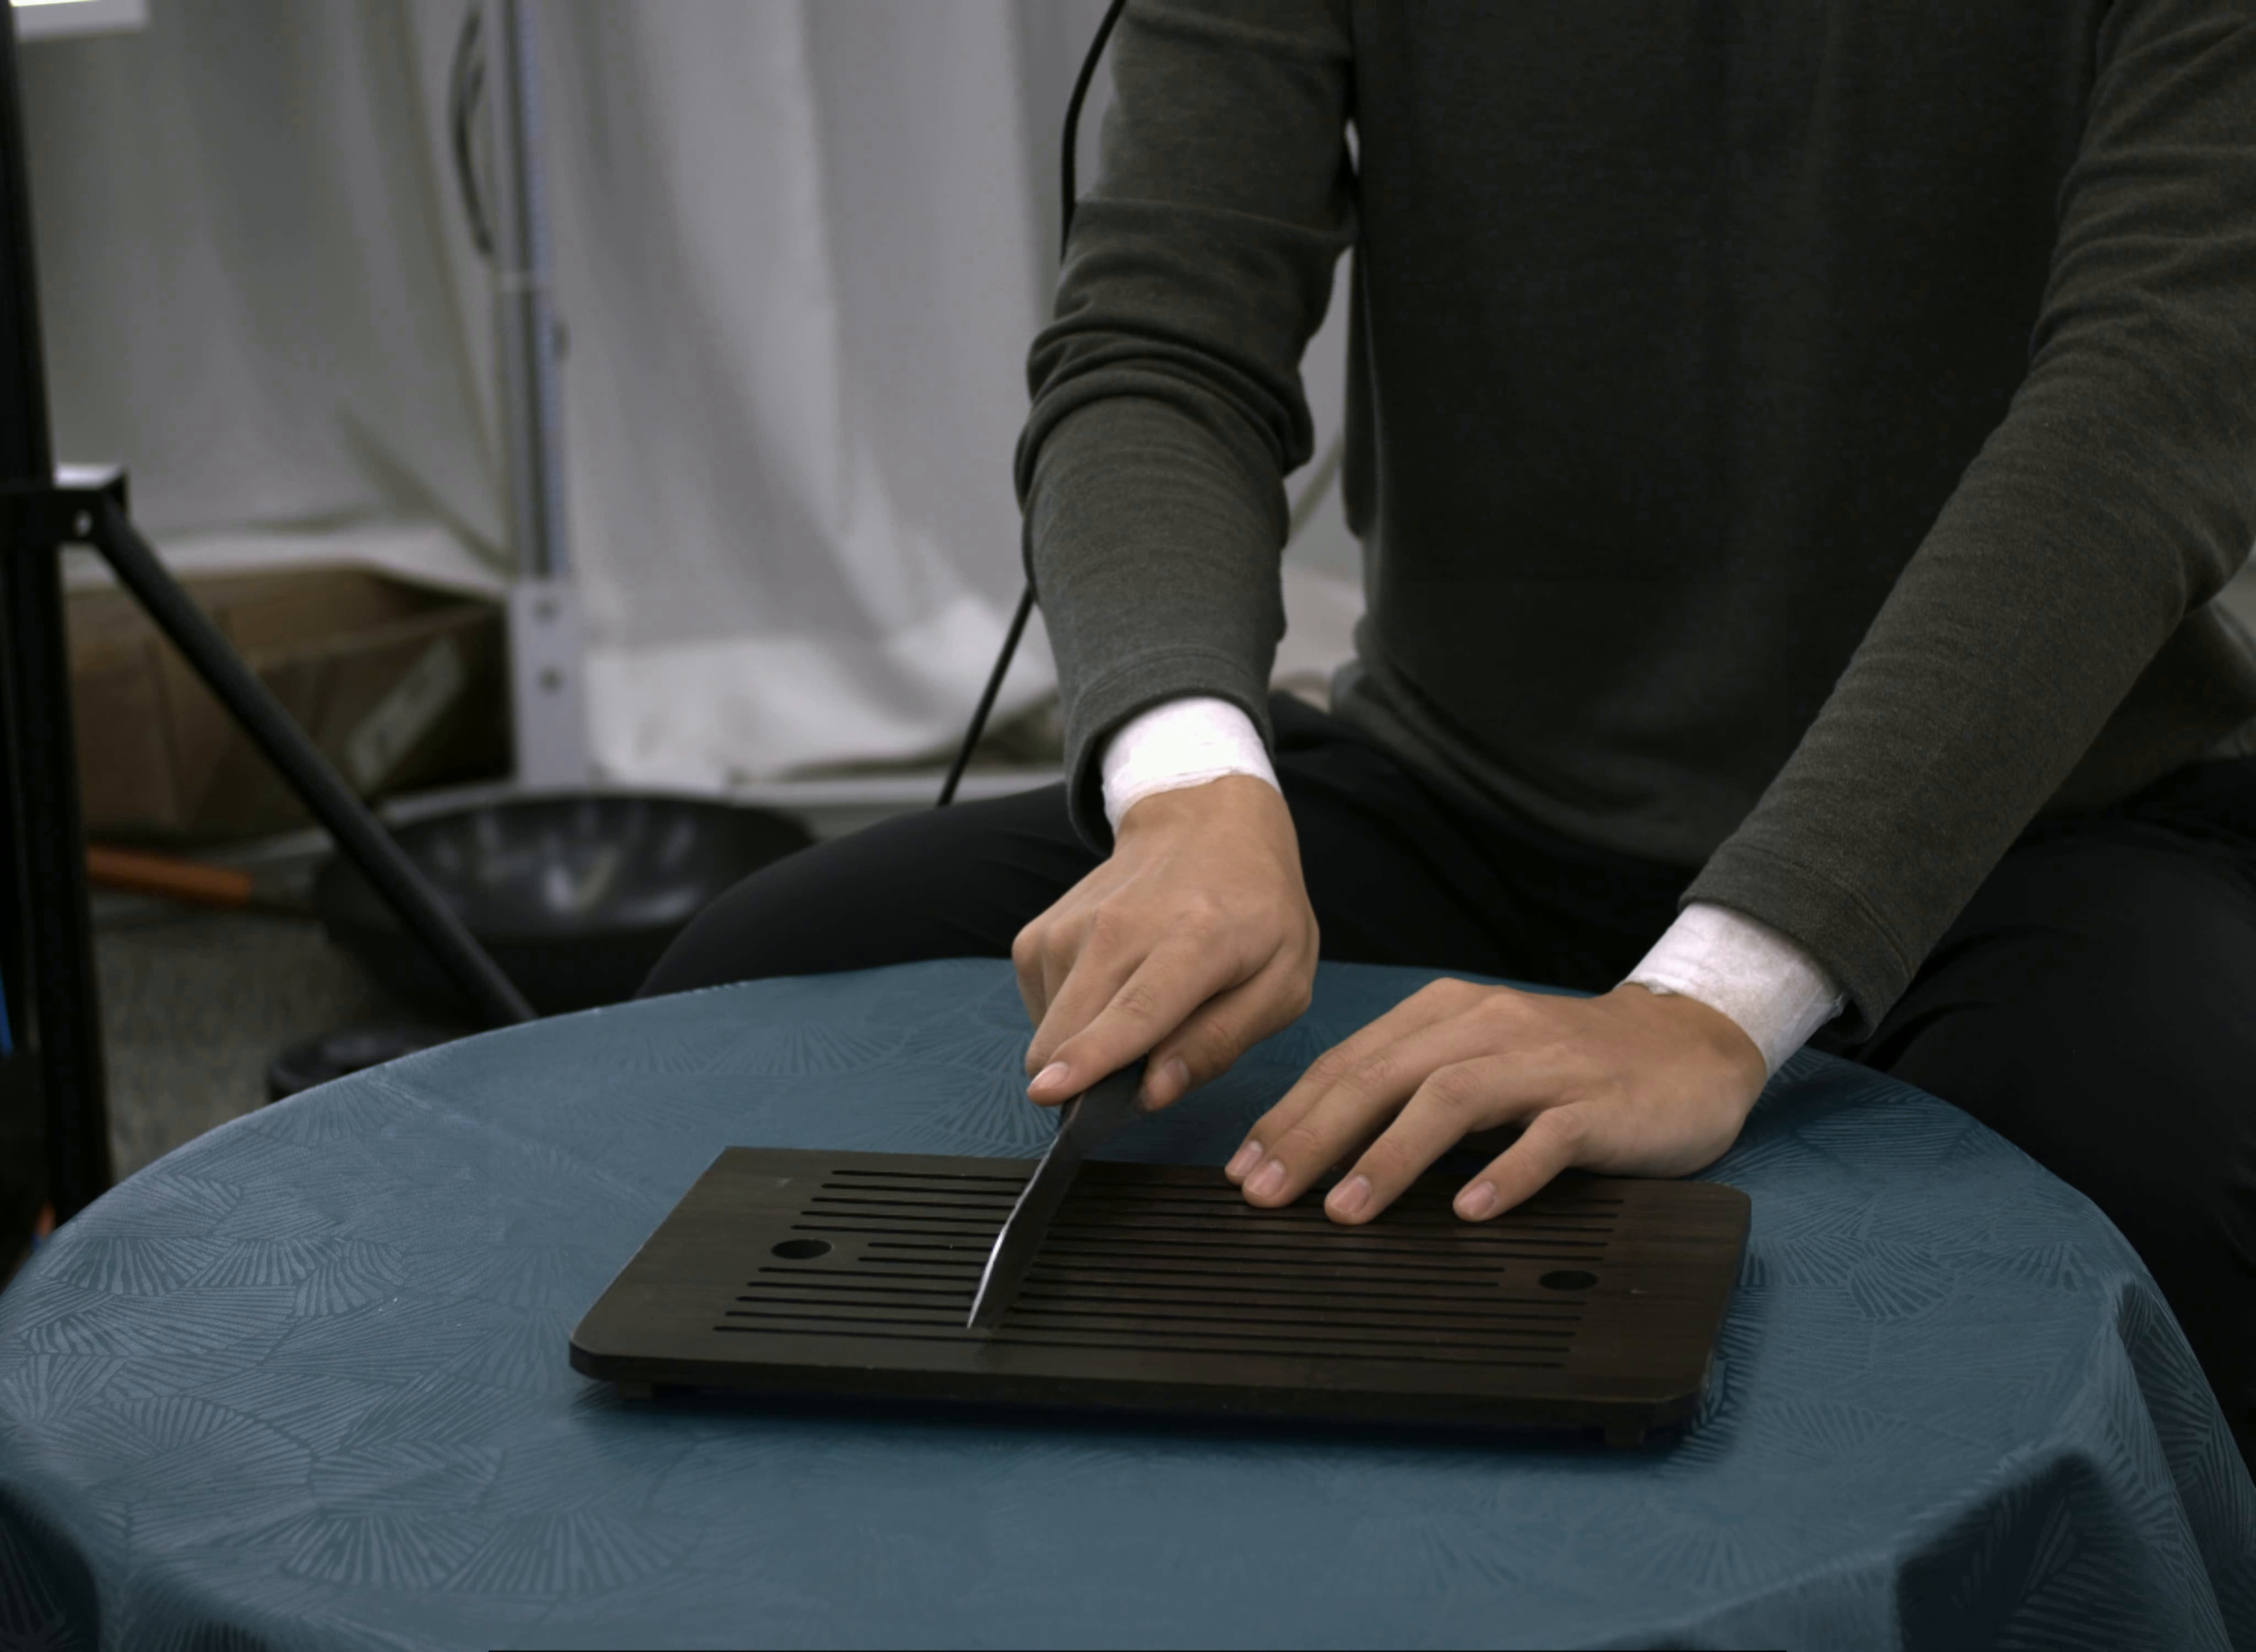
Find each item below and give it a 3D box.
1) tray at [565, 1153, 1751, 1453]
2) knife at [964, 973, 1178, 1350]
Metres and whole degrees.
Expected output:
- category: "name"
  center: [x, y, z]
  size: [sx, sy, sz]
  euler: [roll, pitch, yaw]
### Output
- category: "tray"
  center: [0.013, 0.129, 1.453]
  size: [0.308, 0.018, 0.169]
  euler: [2, 16, 13]
- category: "knife"
  center: [-0.016, 0.092, 1.502]
  size: [0.016, 0.024, 0.237]
  euler: [0, 21, 14]
